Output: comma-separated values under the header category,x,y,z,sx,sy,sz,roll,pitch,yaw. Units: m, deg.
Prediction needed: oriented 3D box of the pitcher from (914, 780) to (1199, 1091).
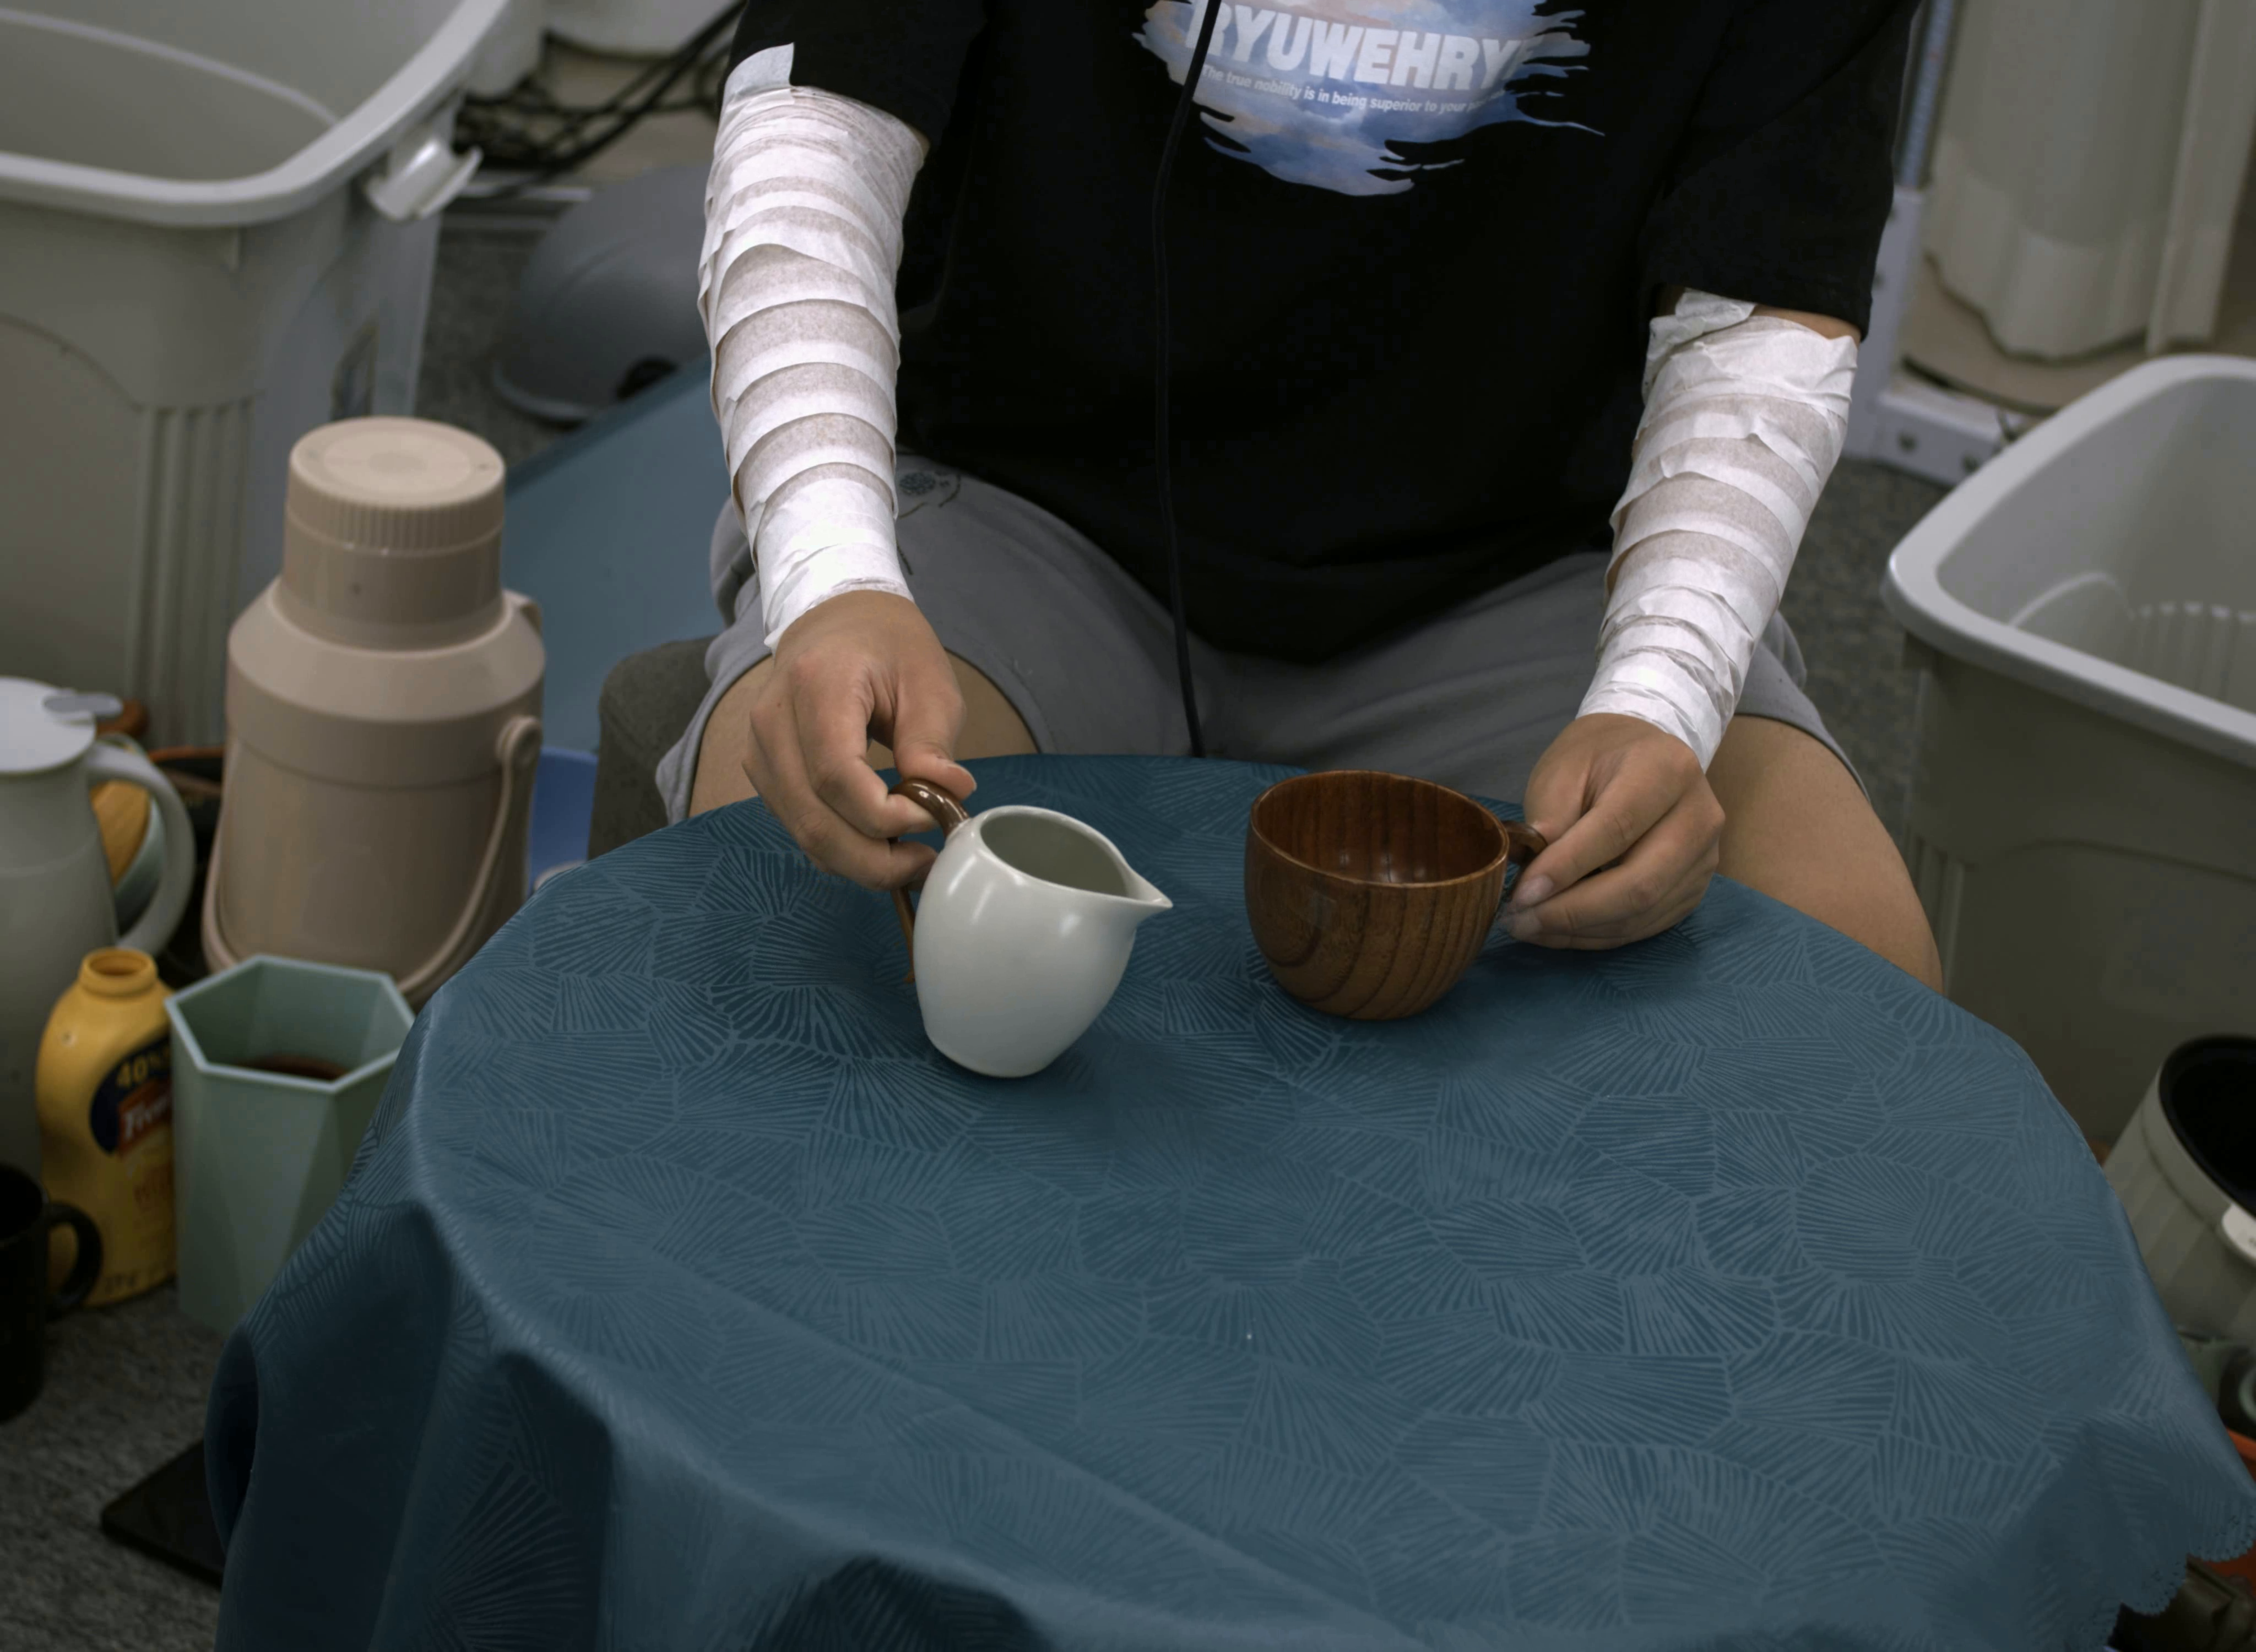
category,x,y,z,sx,sy,sz,roll,pitch,yaw
pitcher,-0.036,0.040,1.856,0.120,0.087,0.075,38,29,25

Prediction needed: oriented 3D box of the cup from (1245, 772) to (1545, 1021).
category,x,y,z,sx,sy,sz,roll,pitch,yaw
cup,0.099,0.028,1.944,0.118,0.067,0.097,-4,25,-24
